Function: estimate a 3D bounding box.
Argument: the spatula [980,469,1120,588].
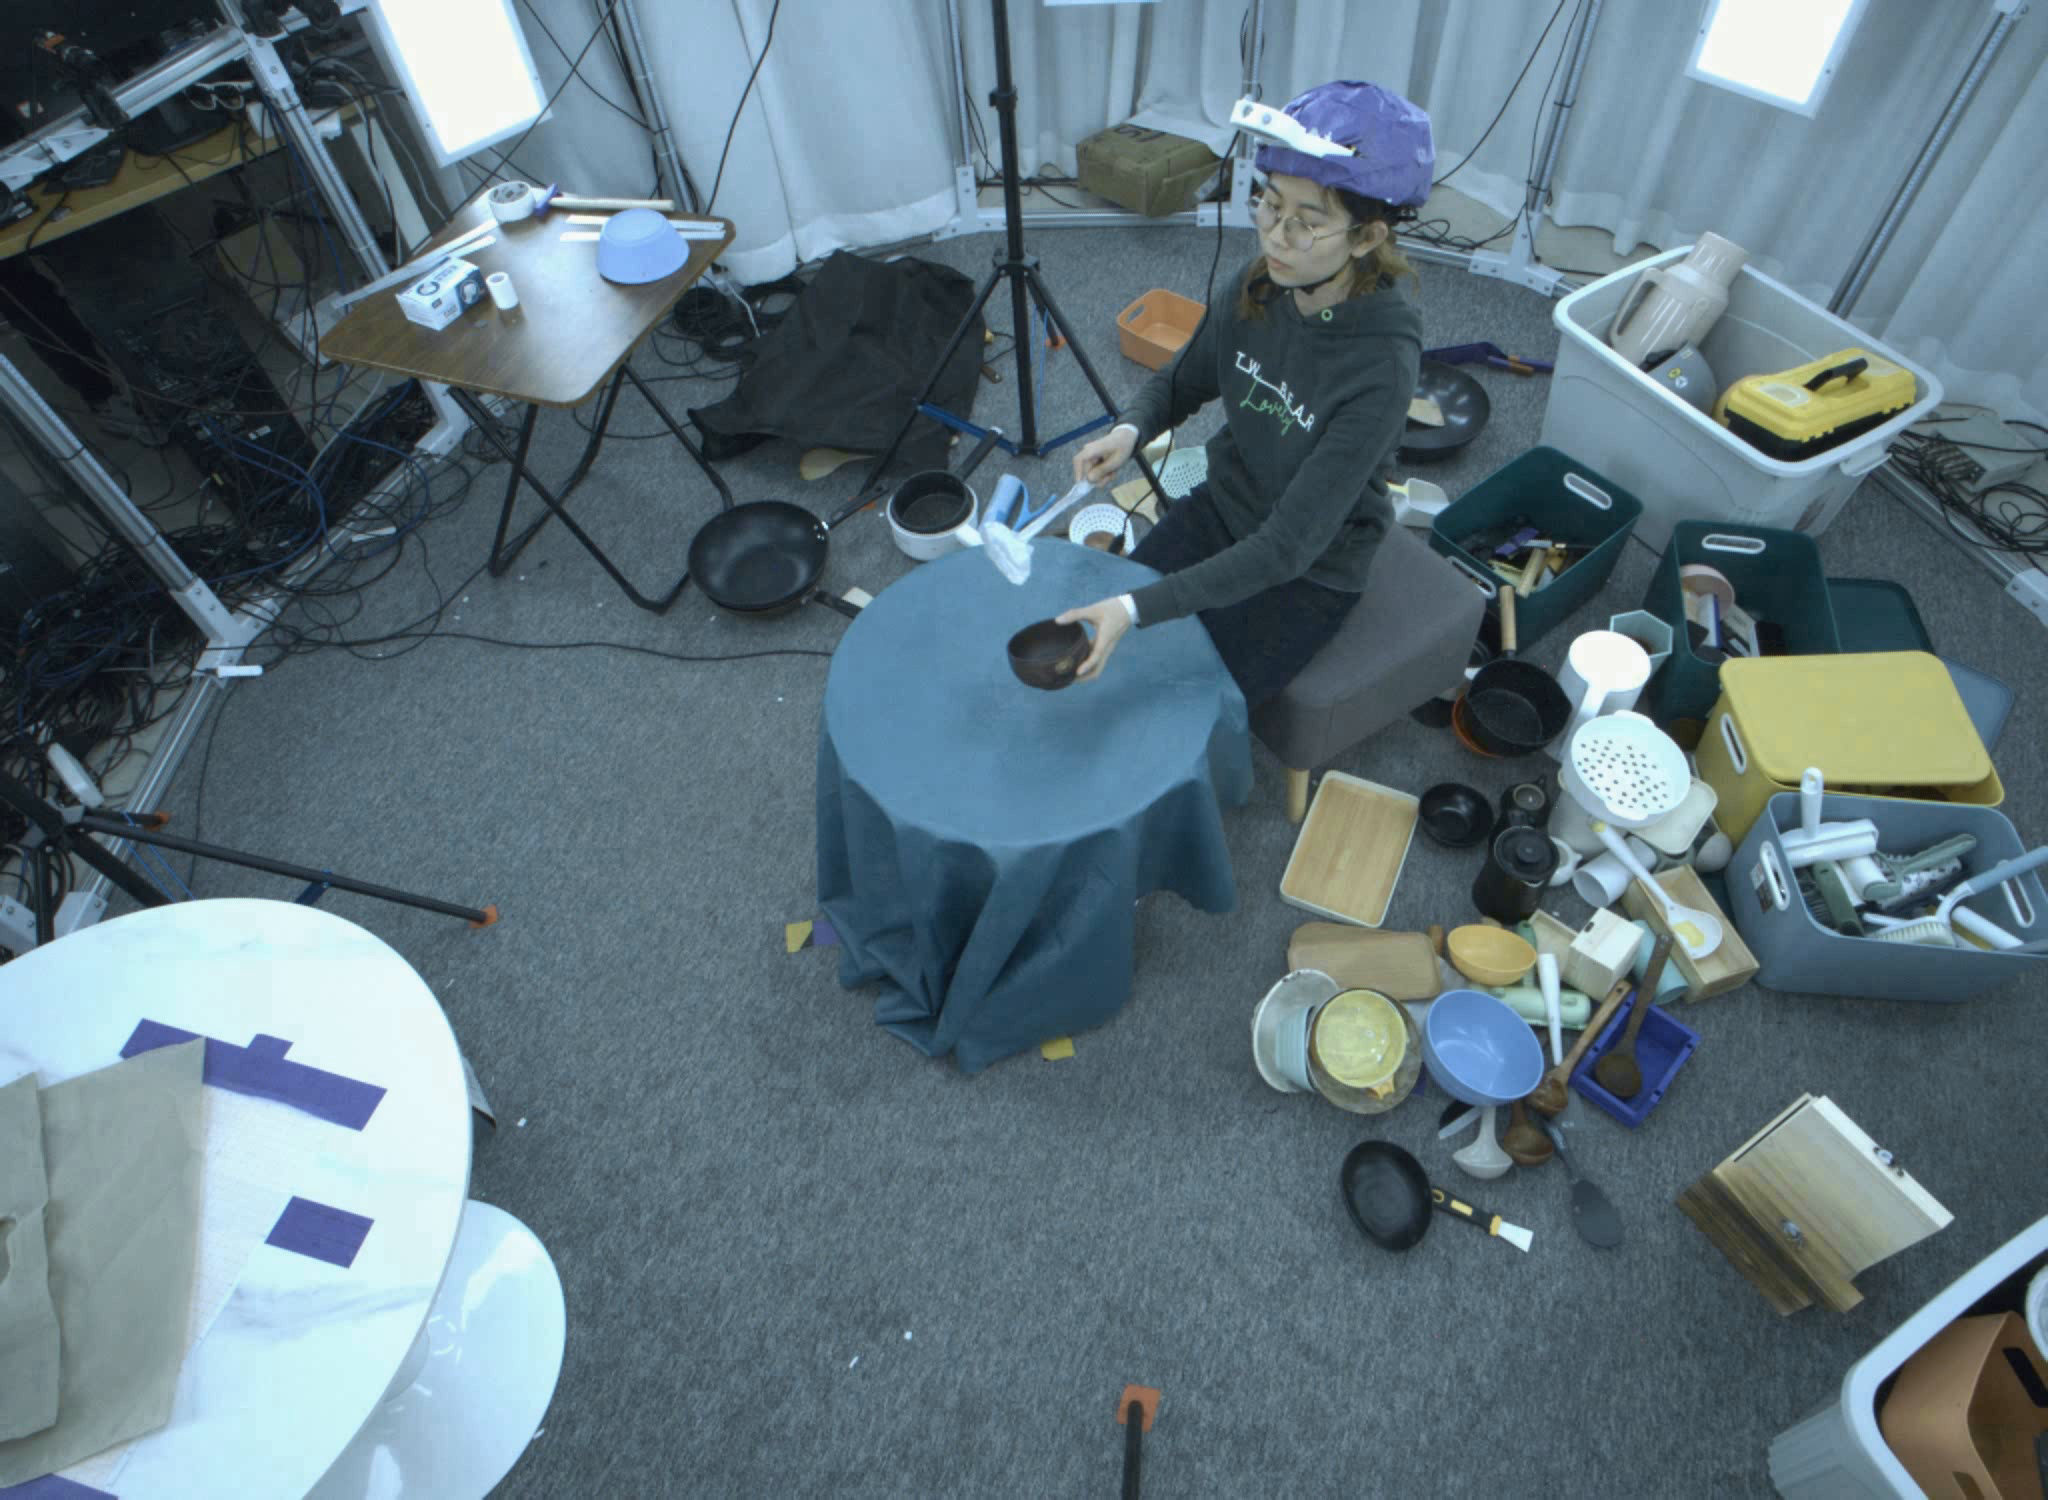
[{"bbox_3d":[0.053,-0.353,1.834,0.099,0.044,0.367,52,53,-9],"label":"spatula"}]

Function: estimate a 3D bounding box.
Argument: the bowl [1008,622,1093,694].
[{"bbox_3d":[0.041,-0.123,1.738,0.117,0.071,0.117,-9,35,8],"label":"bowl"}]
